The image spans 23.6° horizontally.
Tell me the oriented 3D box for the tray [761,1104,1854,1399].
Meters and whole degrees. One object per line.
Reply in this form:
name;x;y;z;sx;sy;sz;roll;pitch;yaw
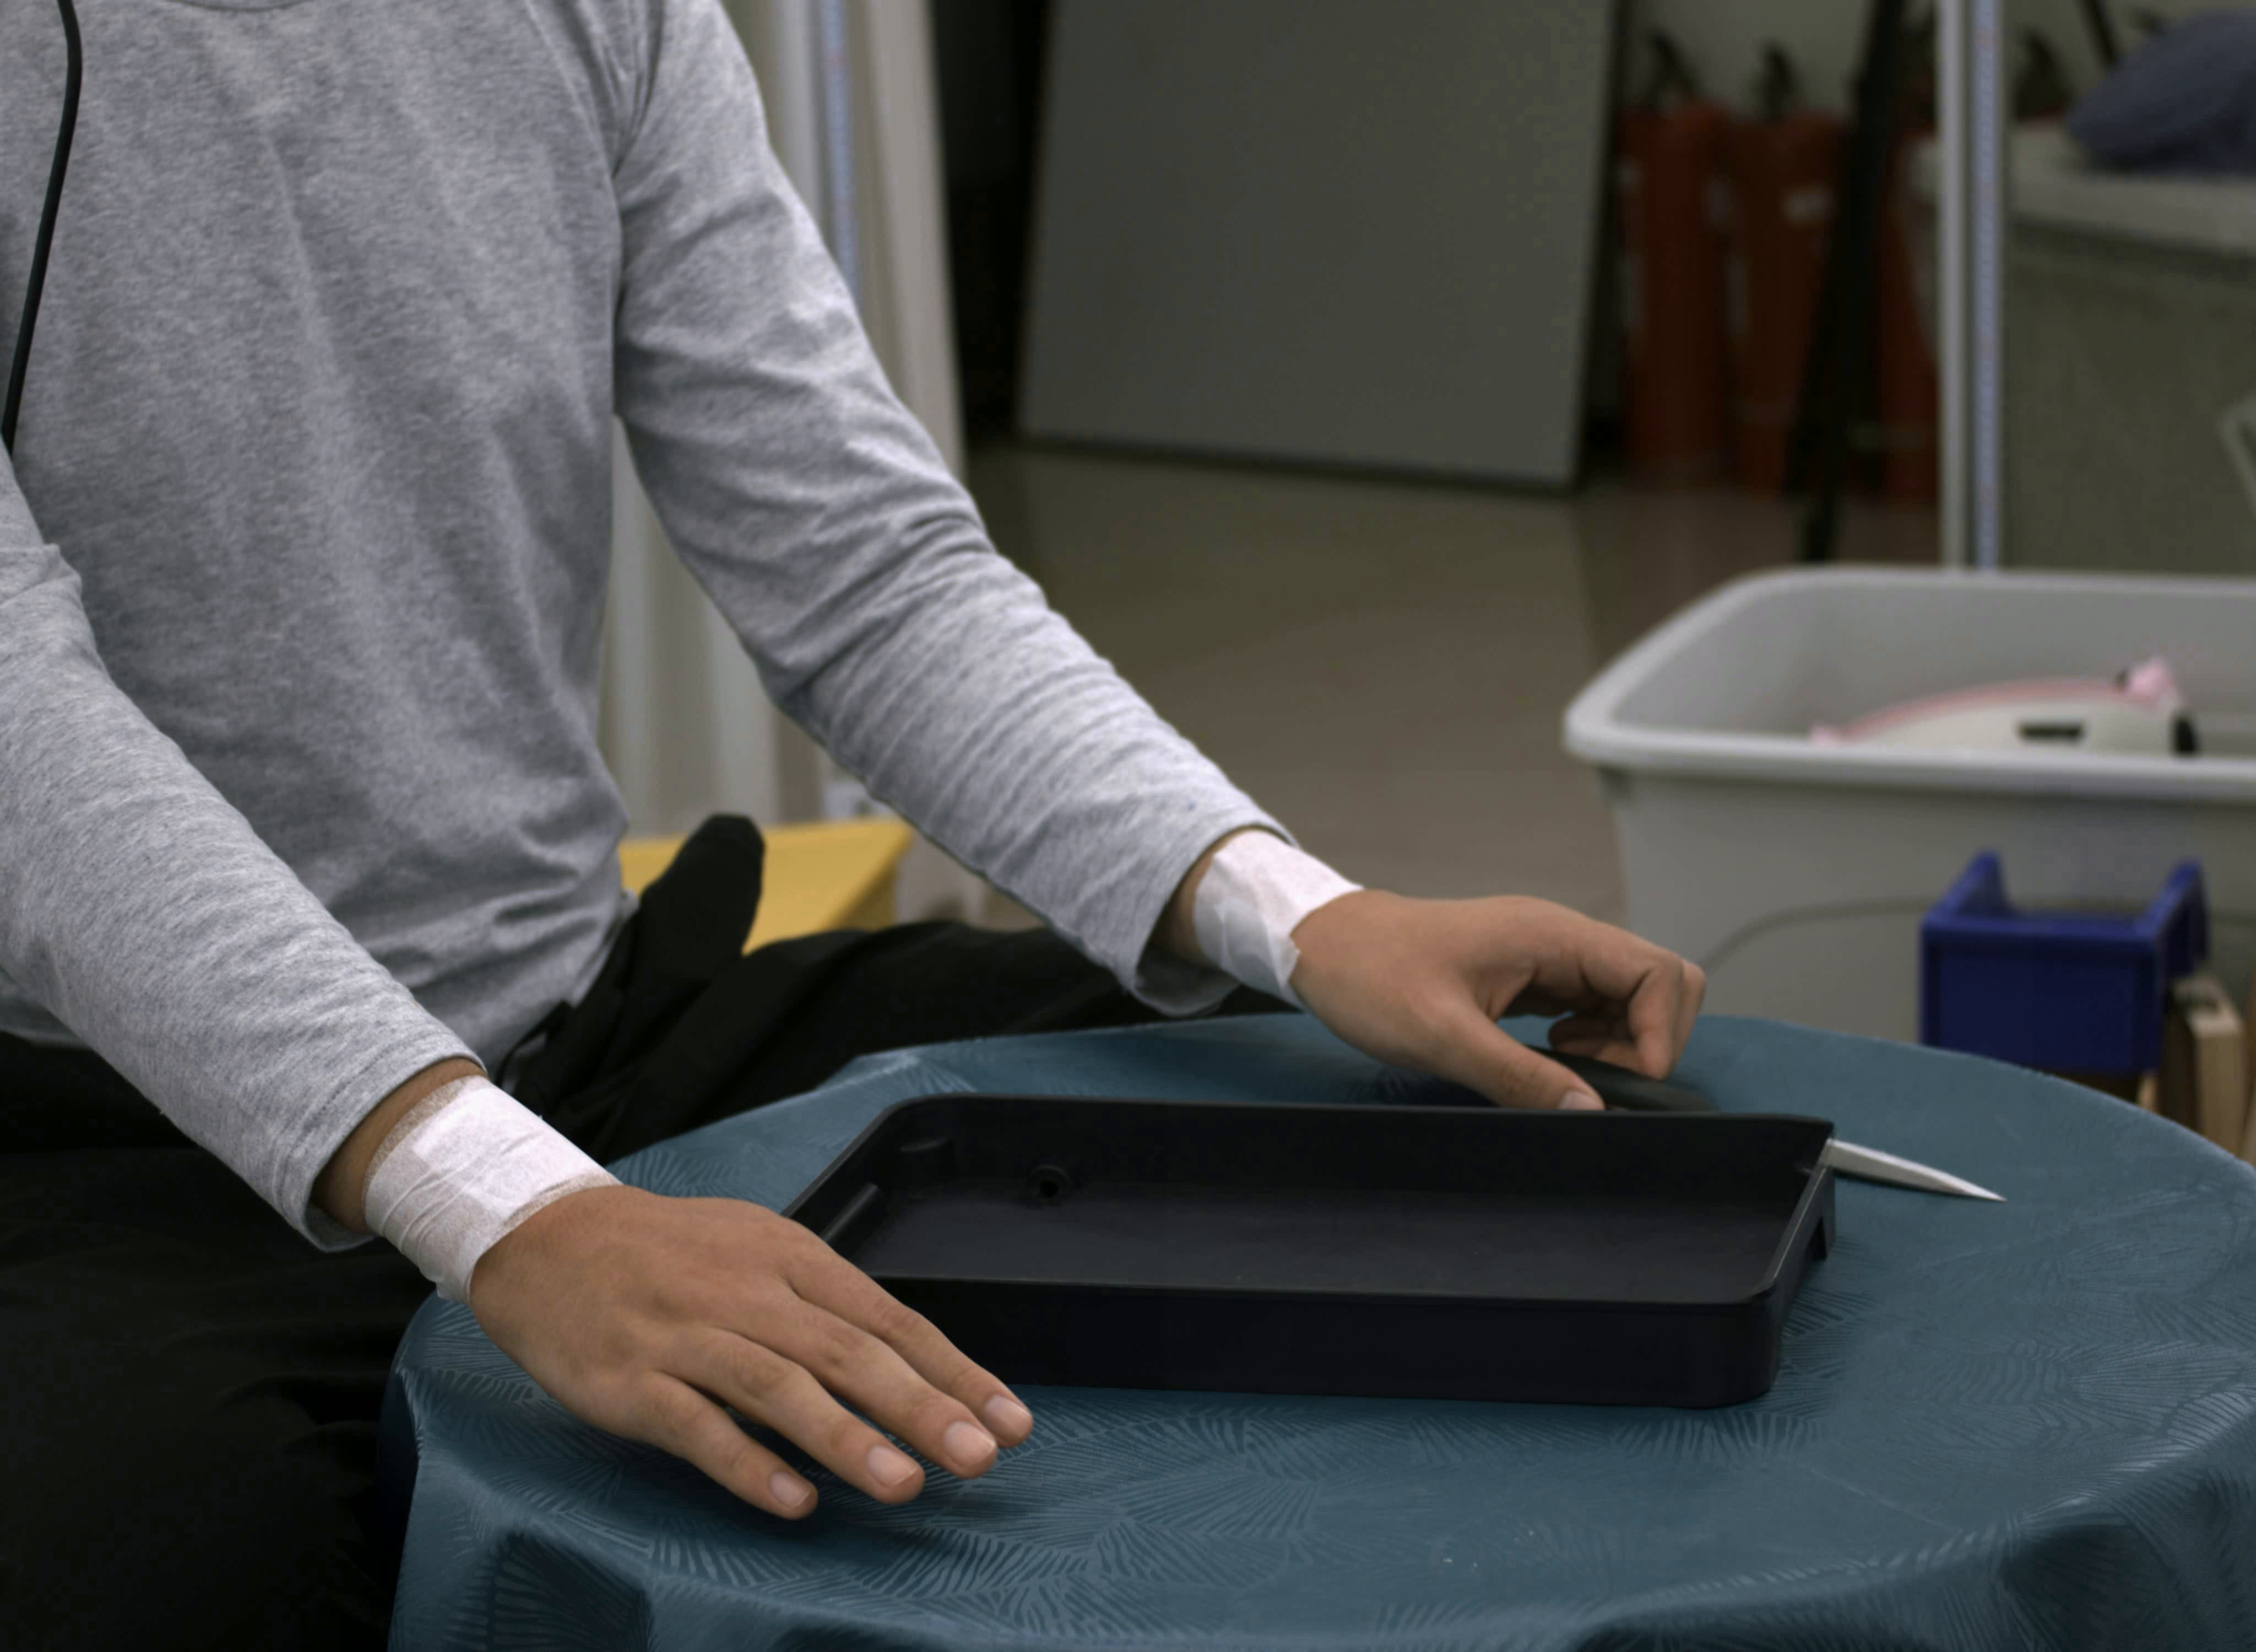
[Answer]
tray;0.059;0.128;1.654;0.316;0.037;0.183;-1;13;16

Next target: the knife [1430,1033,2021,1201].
knife;0.192;0.099;1.780;0.240;0.016;0.024;13;21;41
